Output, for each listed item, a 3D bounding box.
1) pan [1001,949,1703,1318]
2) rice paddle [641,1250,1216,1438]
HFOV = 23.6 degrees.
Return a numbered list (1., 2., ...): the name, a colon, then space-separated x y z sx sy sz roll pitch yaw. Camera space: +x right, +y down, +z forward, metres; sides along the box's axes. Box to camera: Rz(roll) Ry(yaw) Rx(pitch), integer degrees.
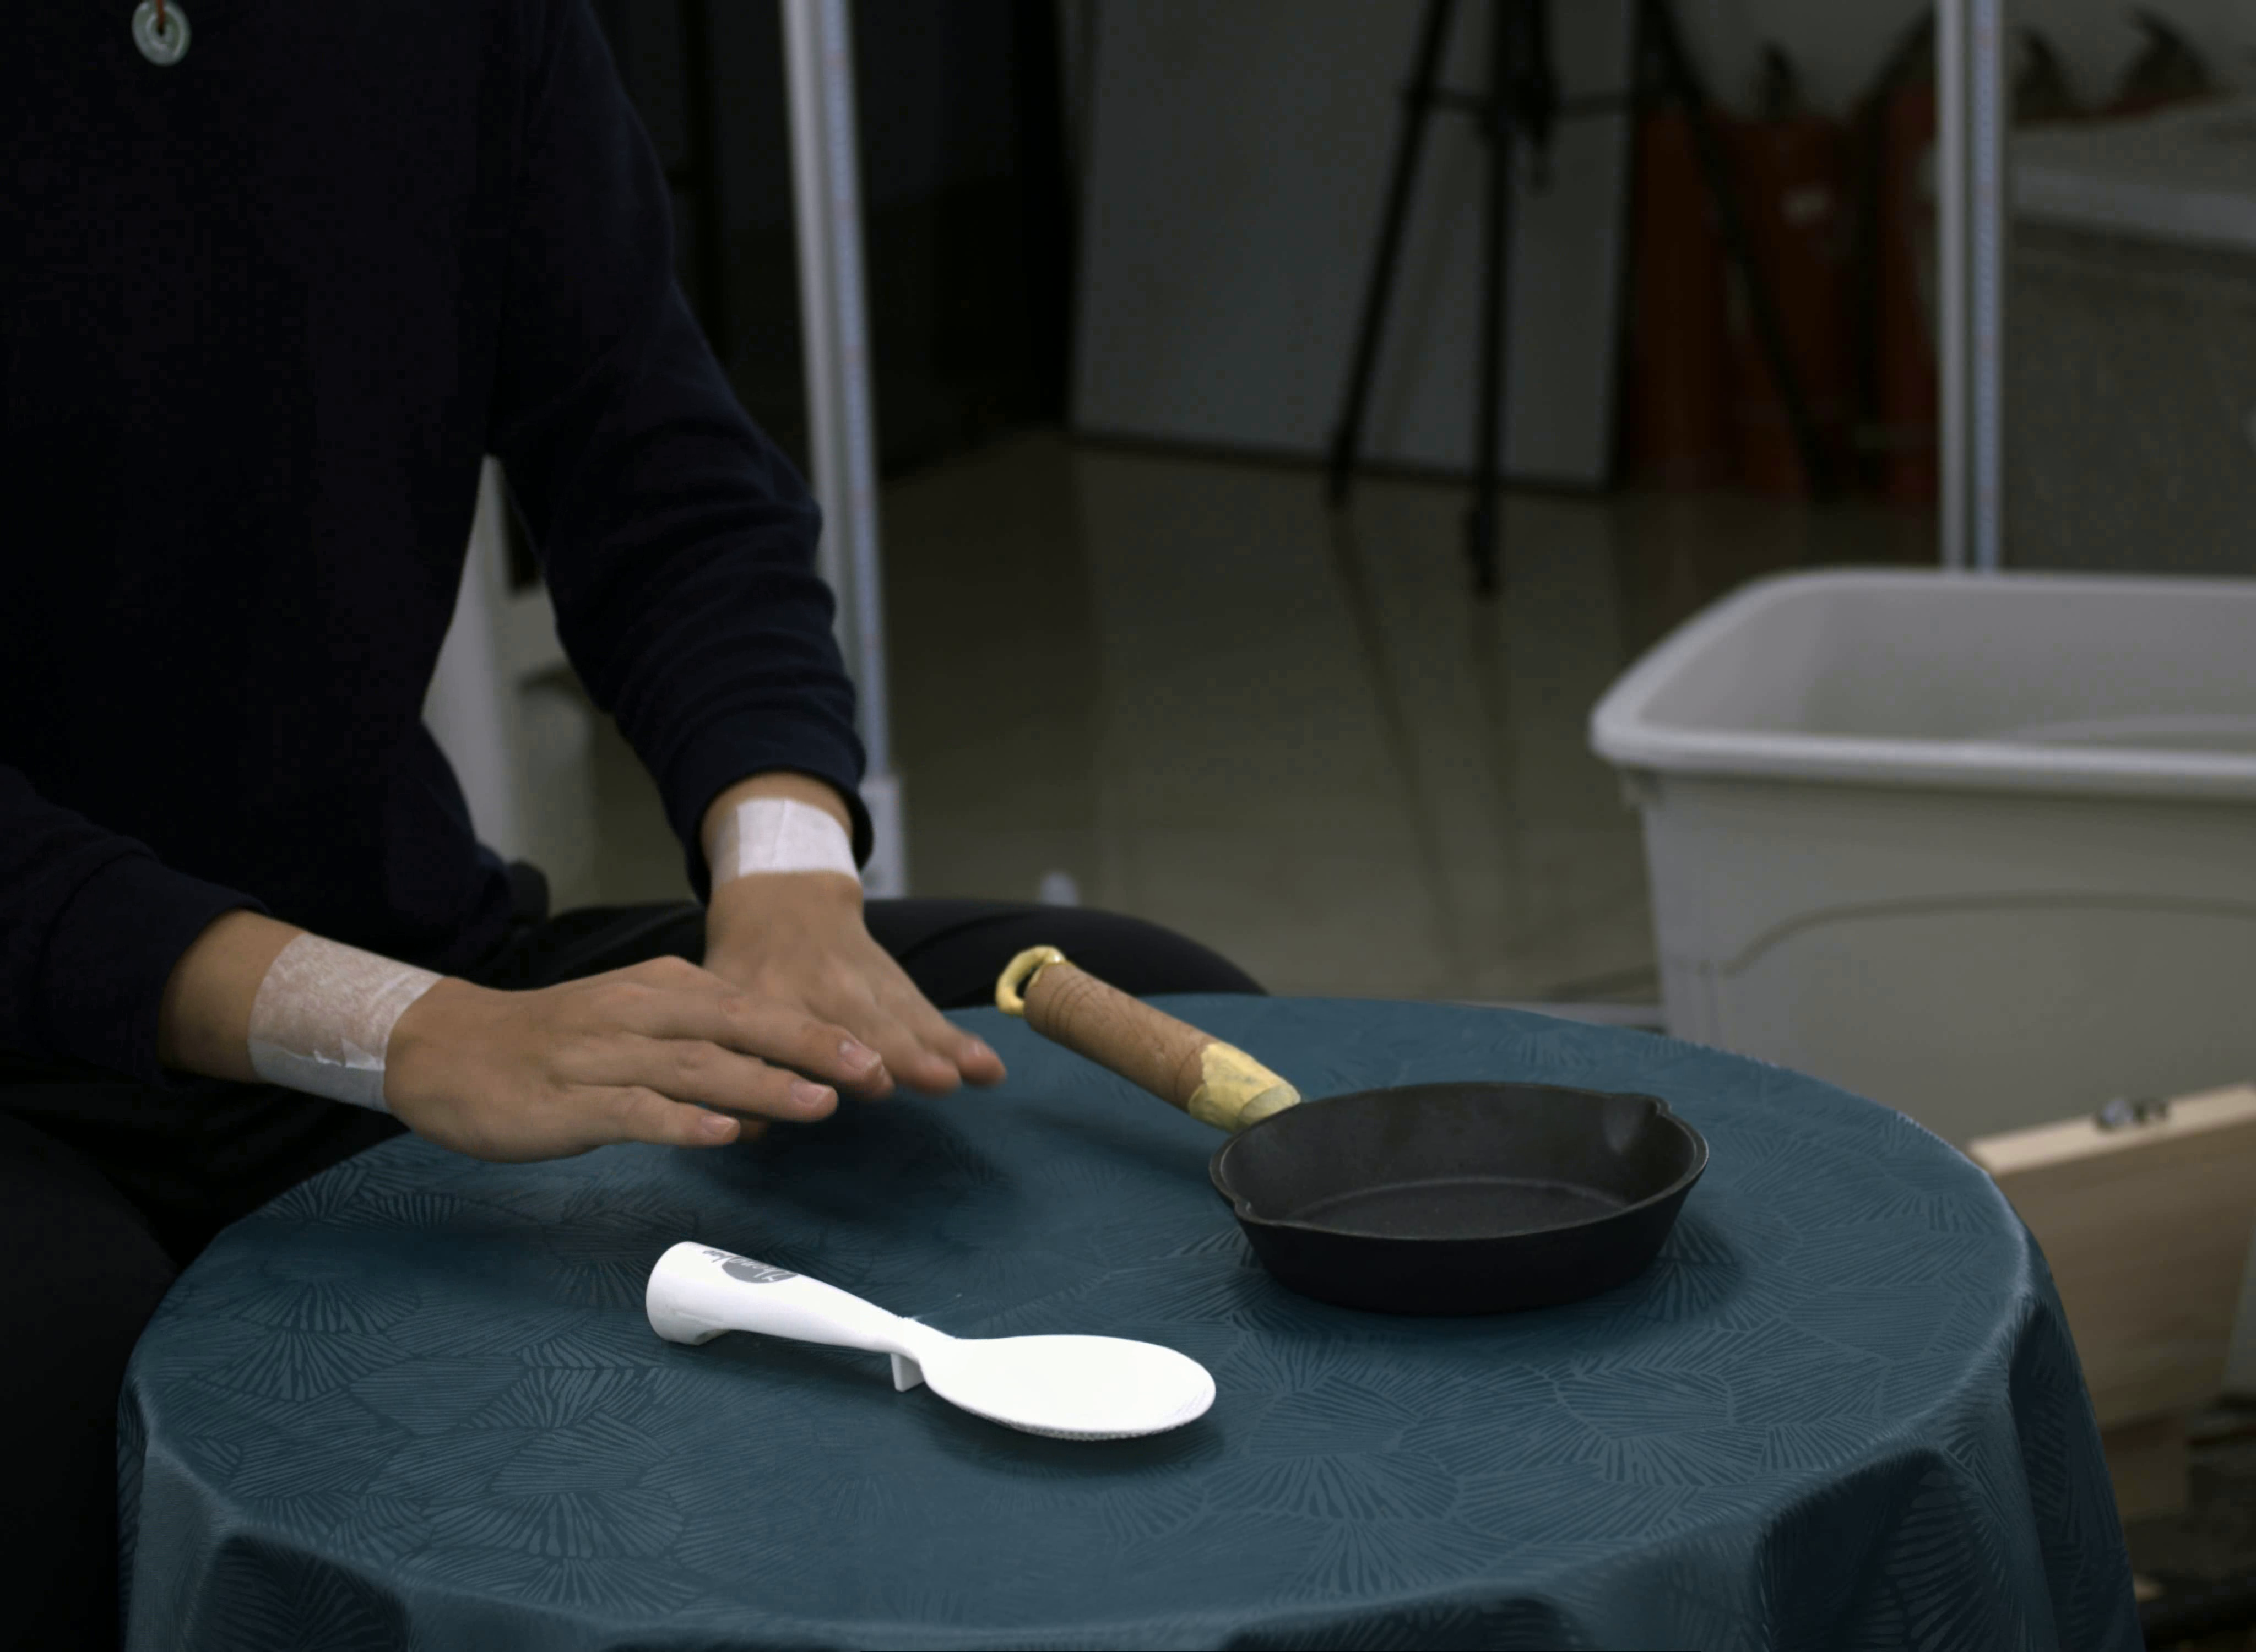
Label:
1. pan: 0.056 0.095 1.752 0.165 0.050 0.328 -13 18 -32
2. rice paddle: -0.060 0.154 1.595 0.207 0.030 0.067 7 21 39
